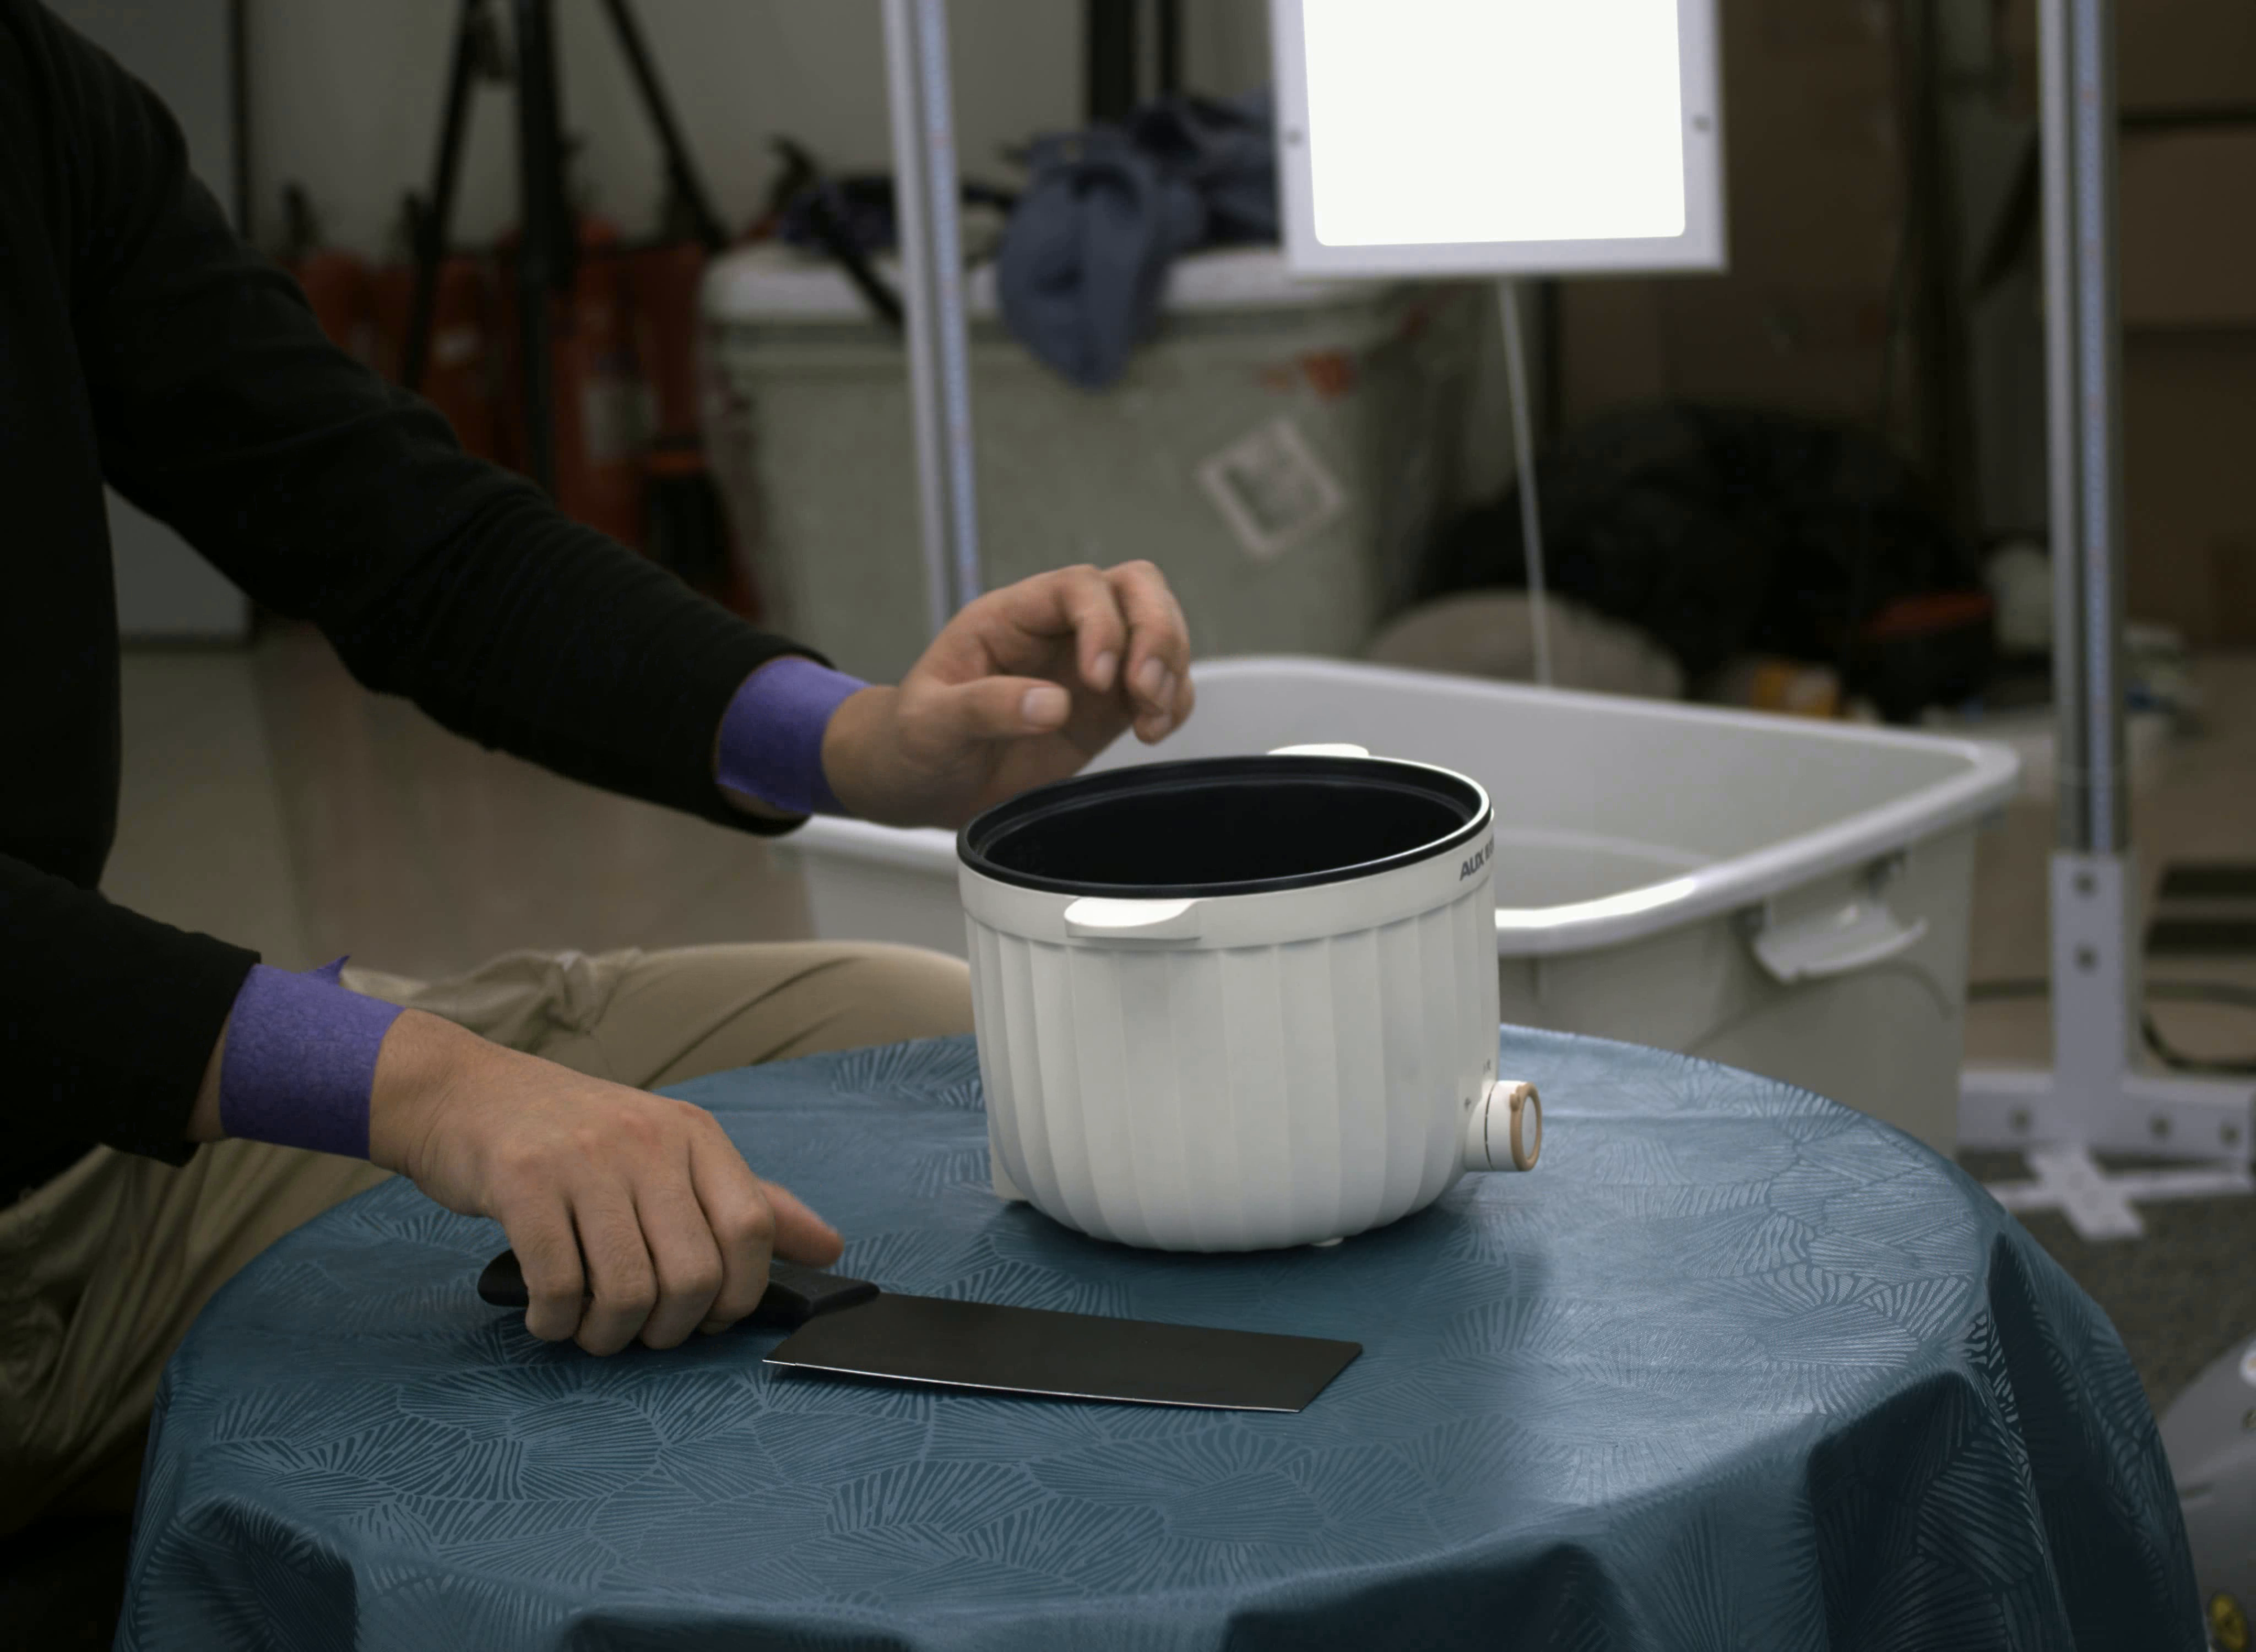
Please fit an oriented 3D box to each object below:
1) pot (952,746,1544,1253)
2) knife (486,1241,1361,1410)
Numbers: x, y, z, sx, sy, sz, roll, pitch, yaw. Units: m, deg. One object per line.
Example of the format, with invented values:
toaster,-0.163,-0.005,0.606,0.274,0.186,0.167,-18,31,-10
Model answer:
pot,0.042,0.061,1.860,0.193,0.143,0.236,-3,15,21
knife,-0.073,0.160,1.760,0.308,0.021,0.079,5,17,29
